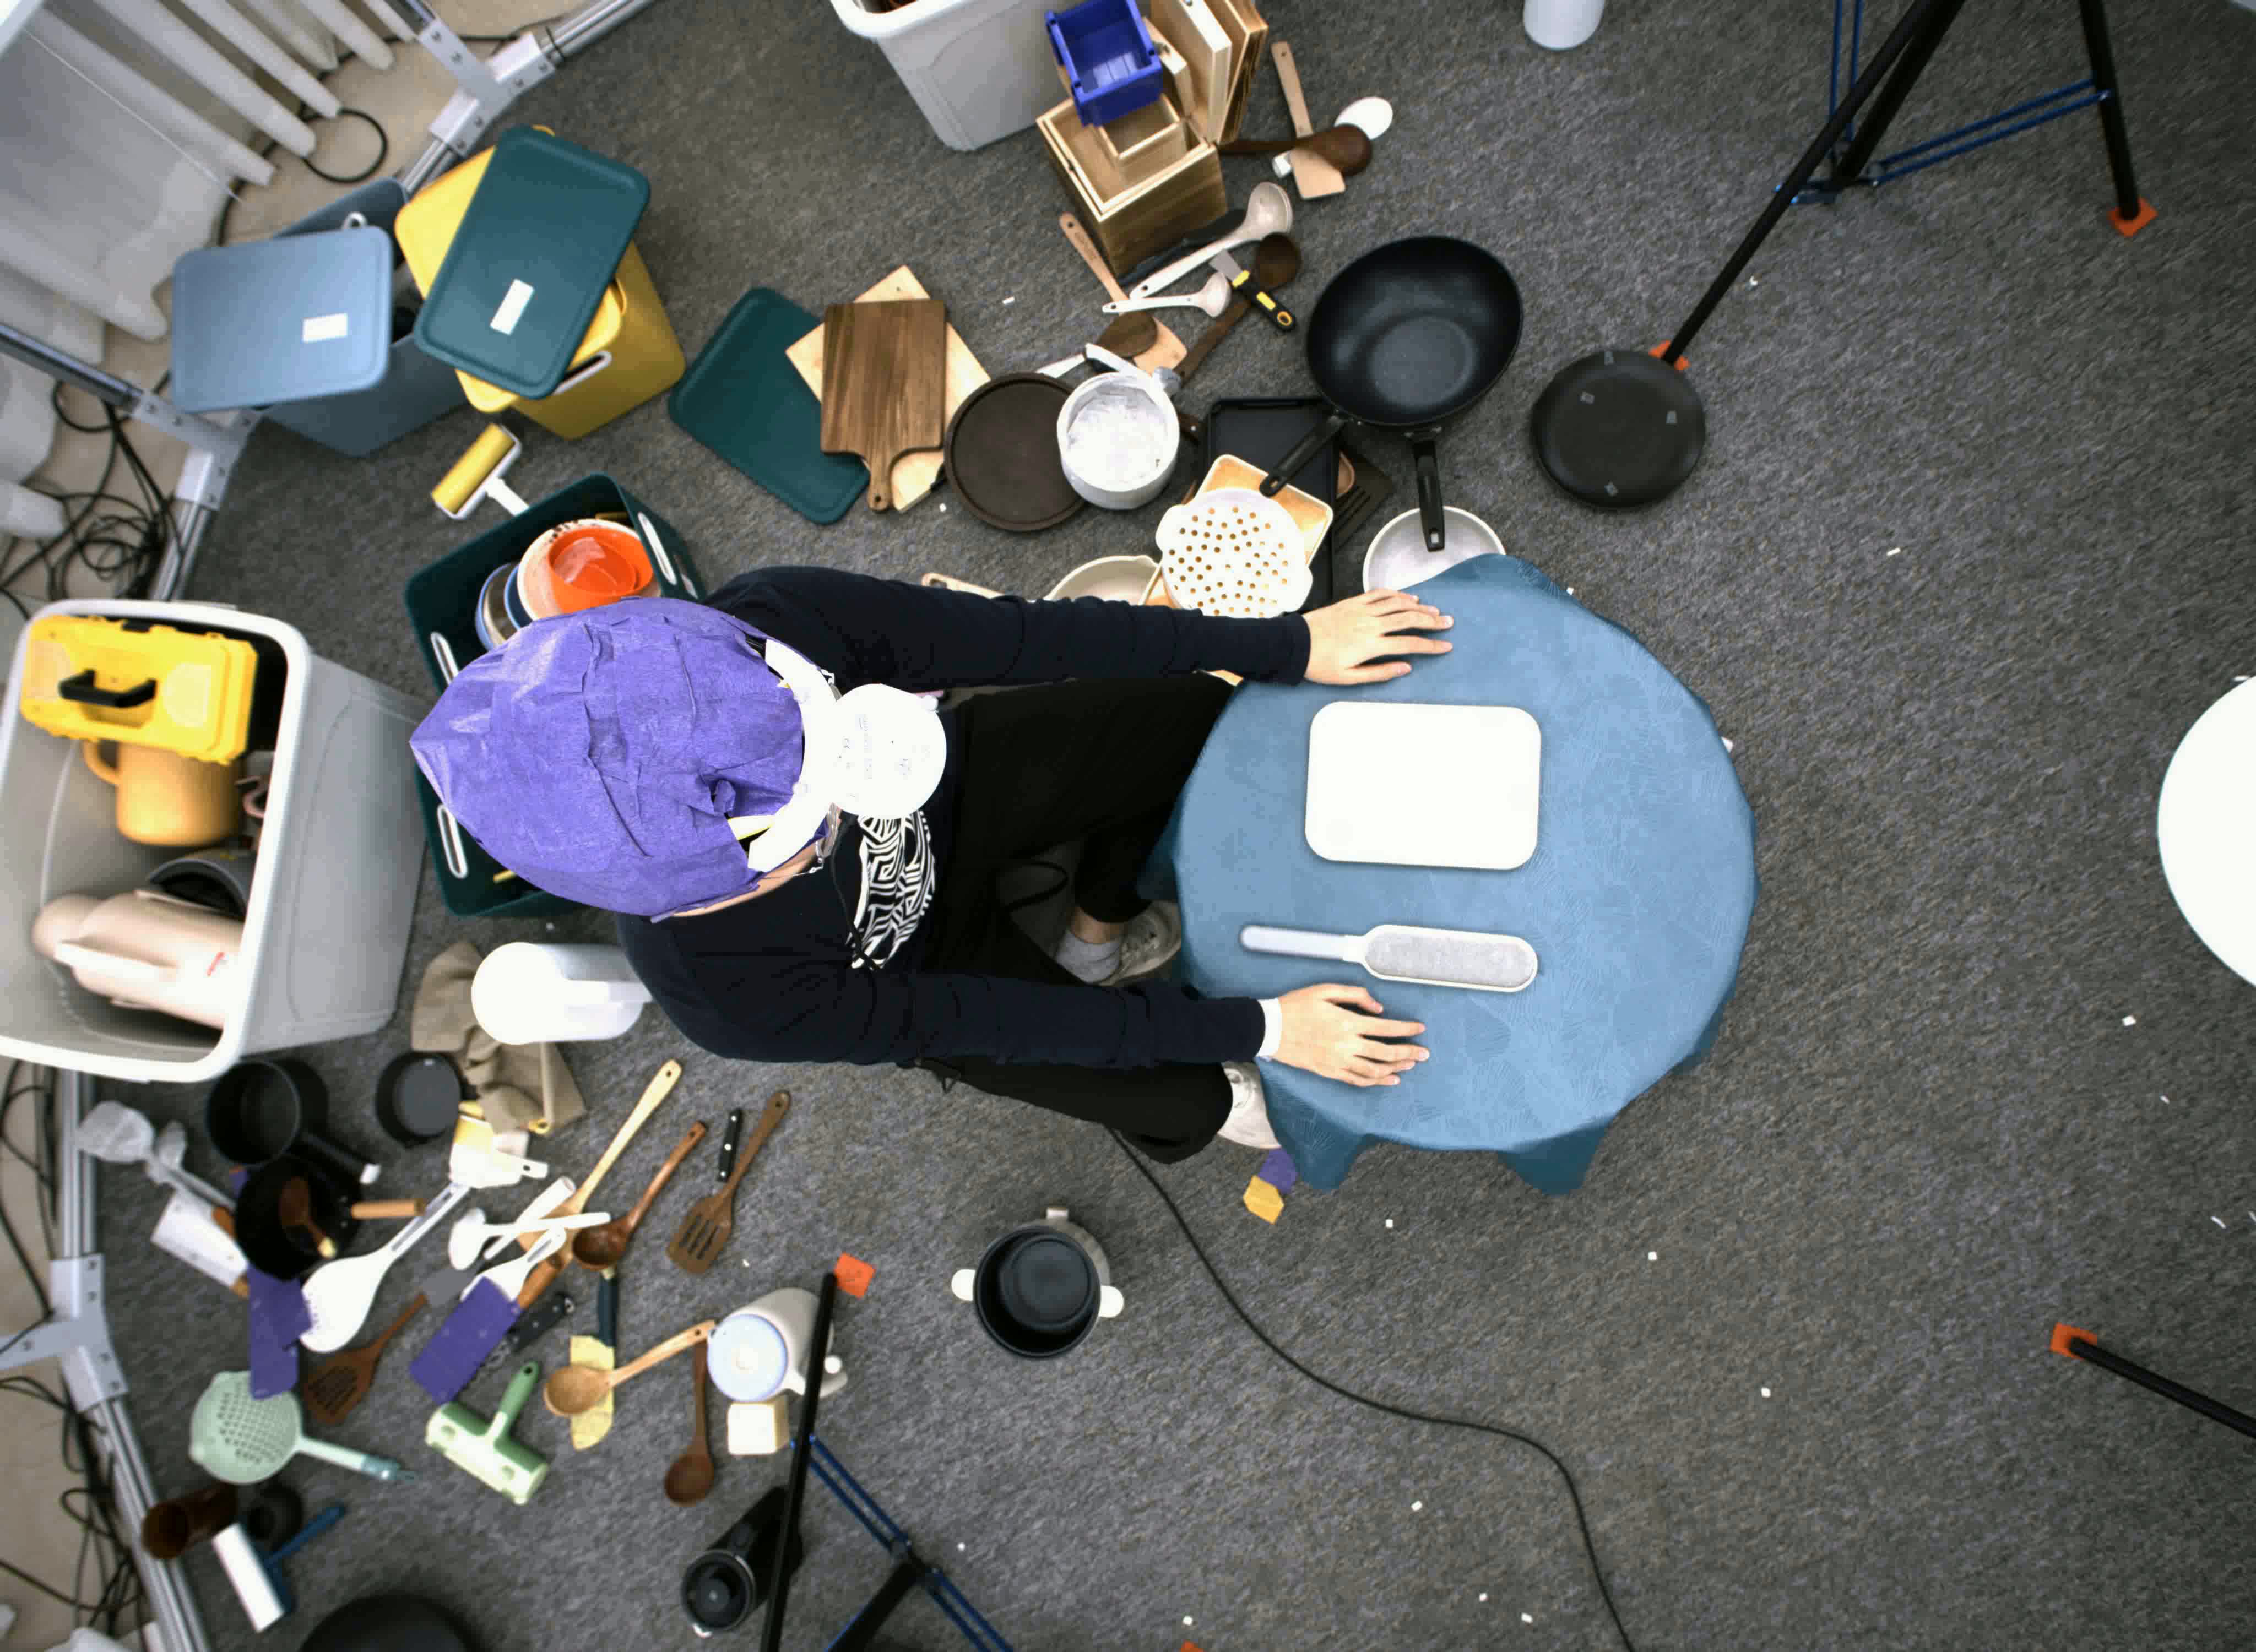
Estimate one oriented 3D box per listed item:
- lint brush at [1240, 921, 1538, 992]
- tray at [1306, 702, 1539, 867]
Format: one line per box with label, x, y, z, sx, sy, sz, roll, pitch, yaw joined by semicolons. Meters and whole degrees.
lint brush;0.270;0.128;1.443;0.310;0.021;0.060;5;93;11
tray;0.309;-0.046;1.450;0.240;0.017;0.171;2;88;11
